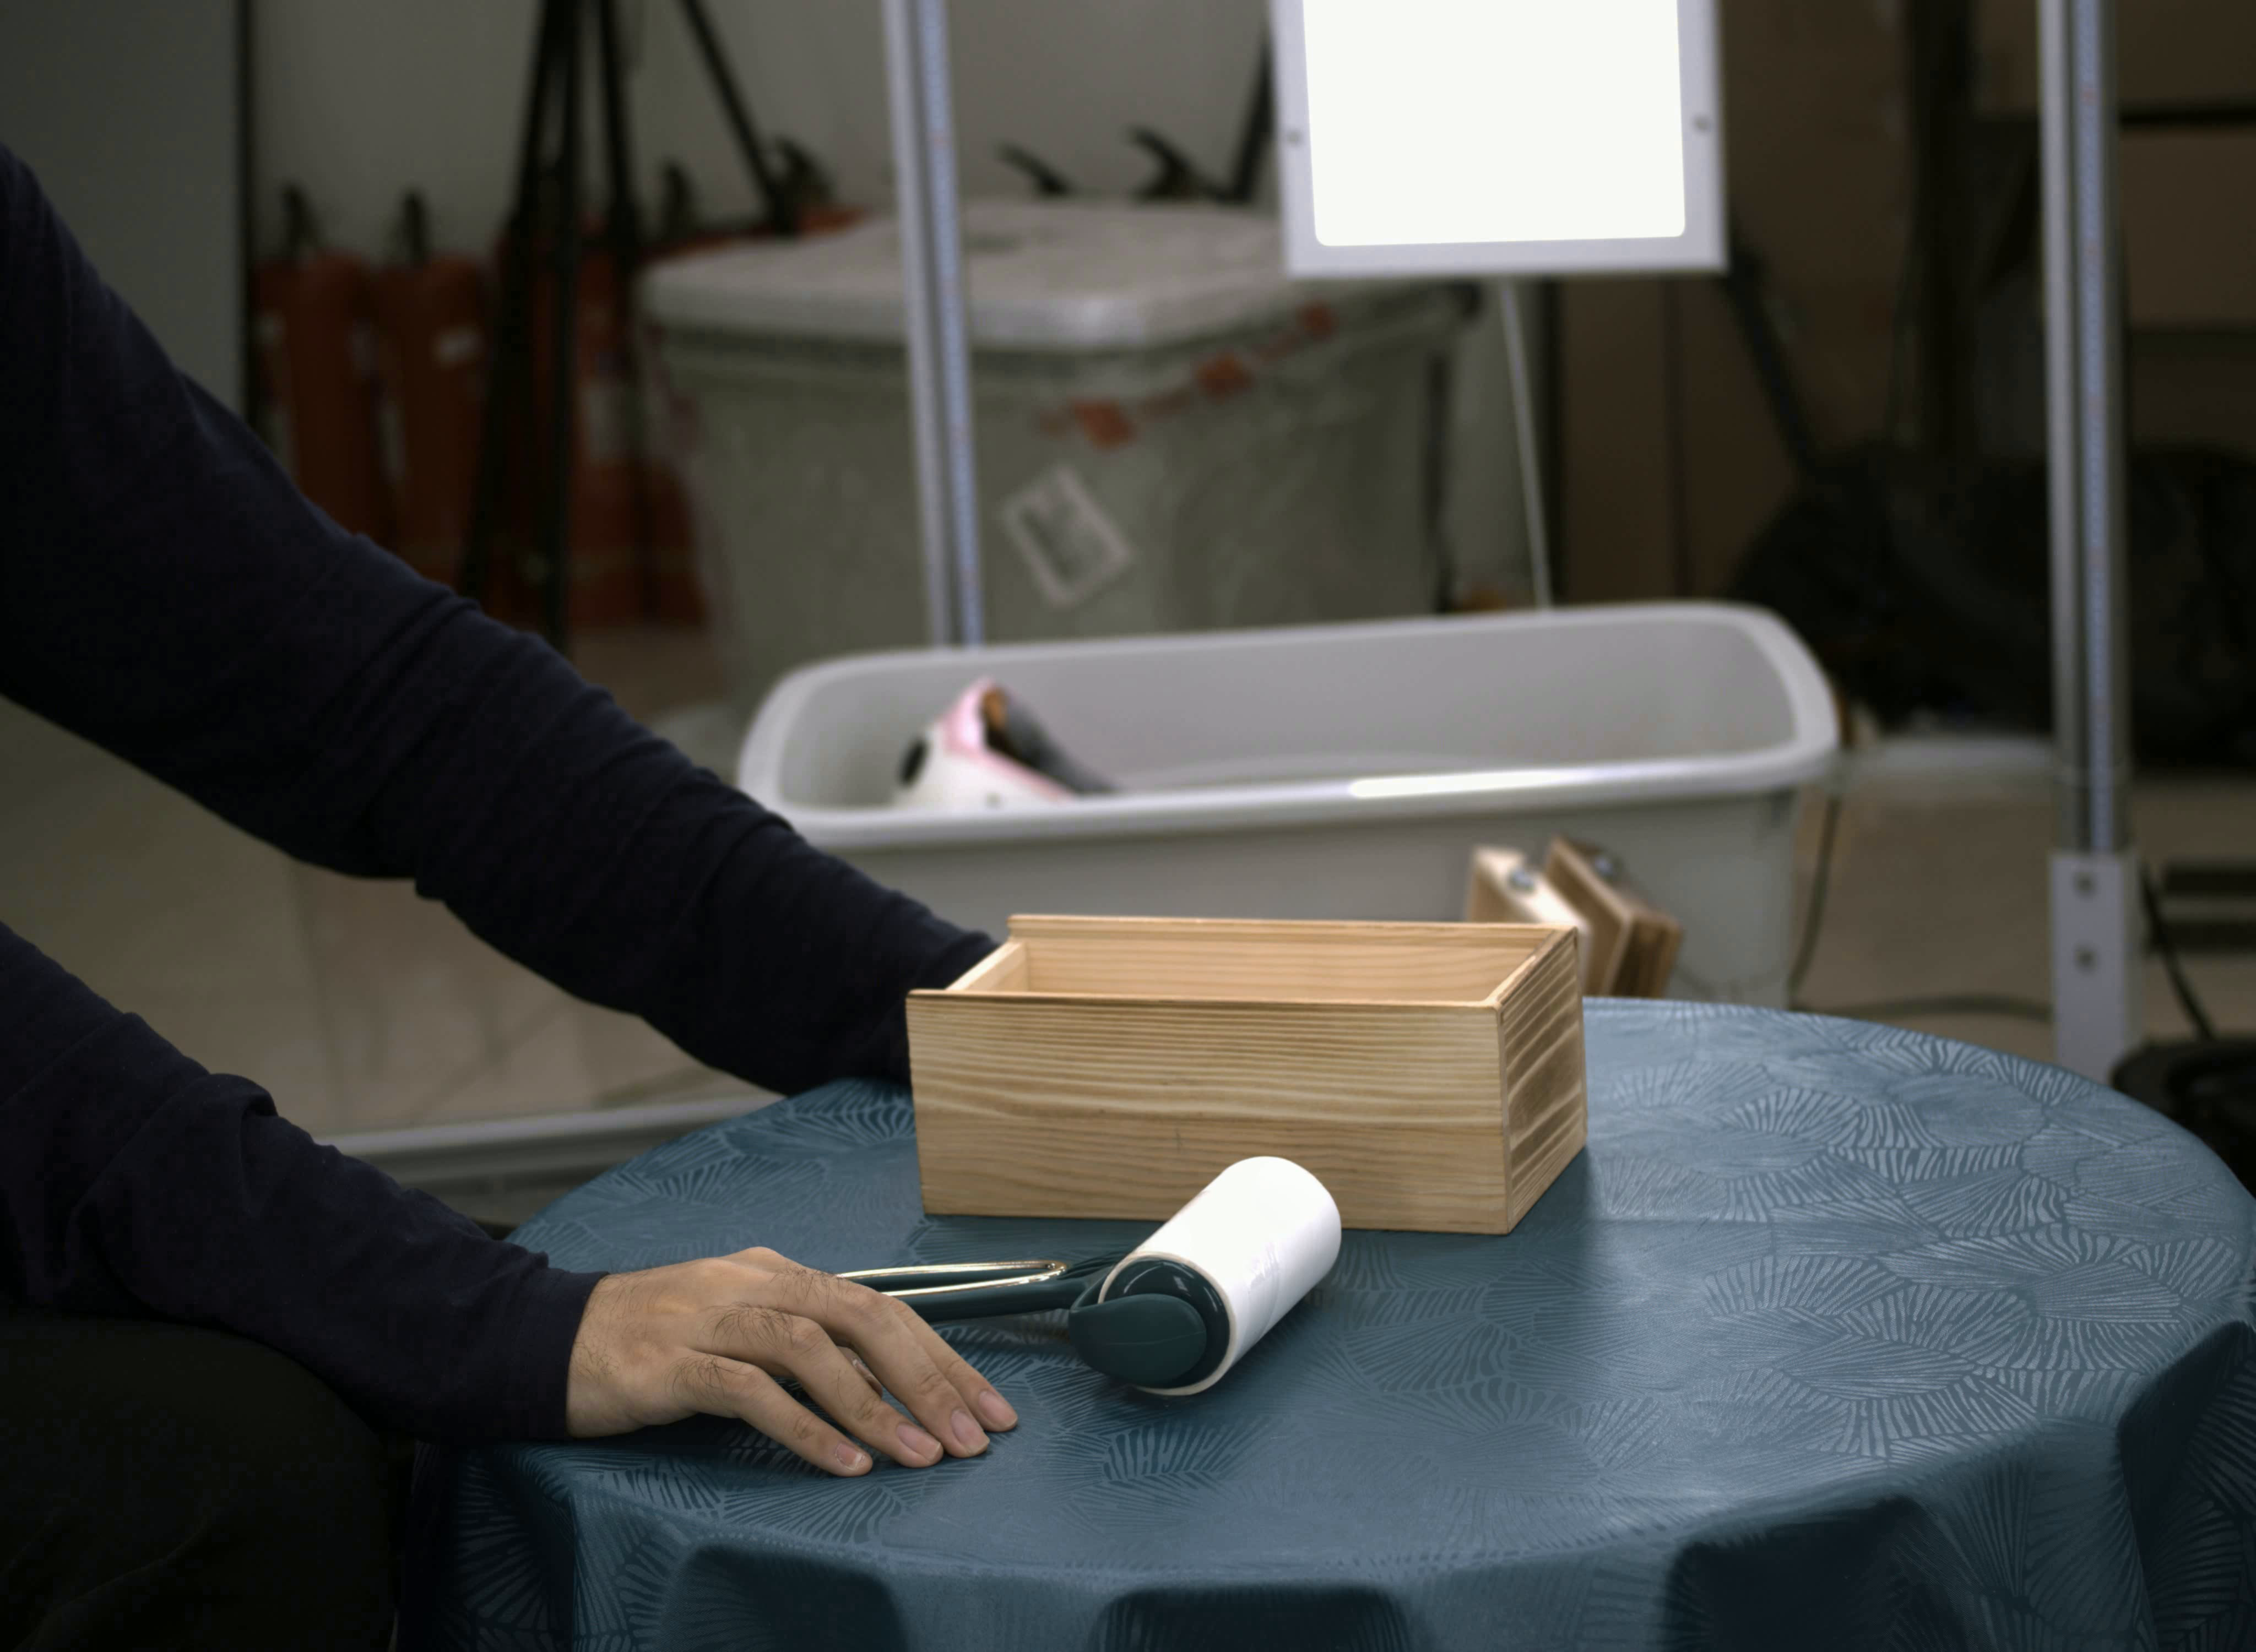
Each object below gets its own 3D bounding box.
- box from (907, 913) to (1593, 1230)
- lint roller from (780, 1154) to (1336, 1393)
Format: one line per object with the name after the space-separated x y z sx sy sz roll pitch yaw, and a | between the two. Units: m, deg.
0.044 0.084 1.896 0.214 0.080 0.105 -1 15 22 | box
-0.033 0.144 1.762 0.183 0.048 0.132 -4 13 24 | lint roller
